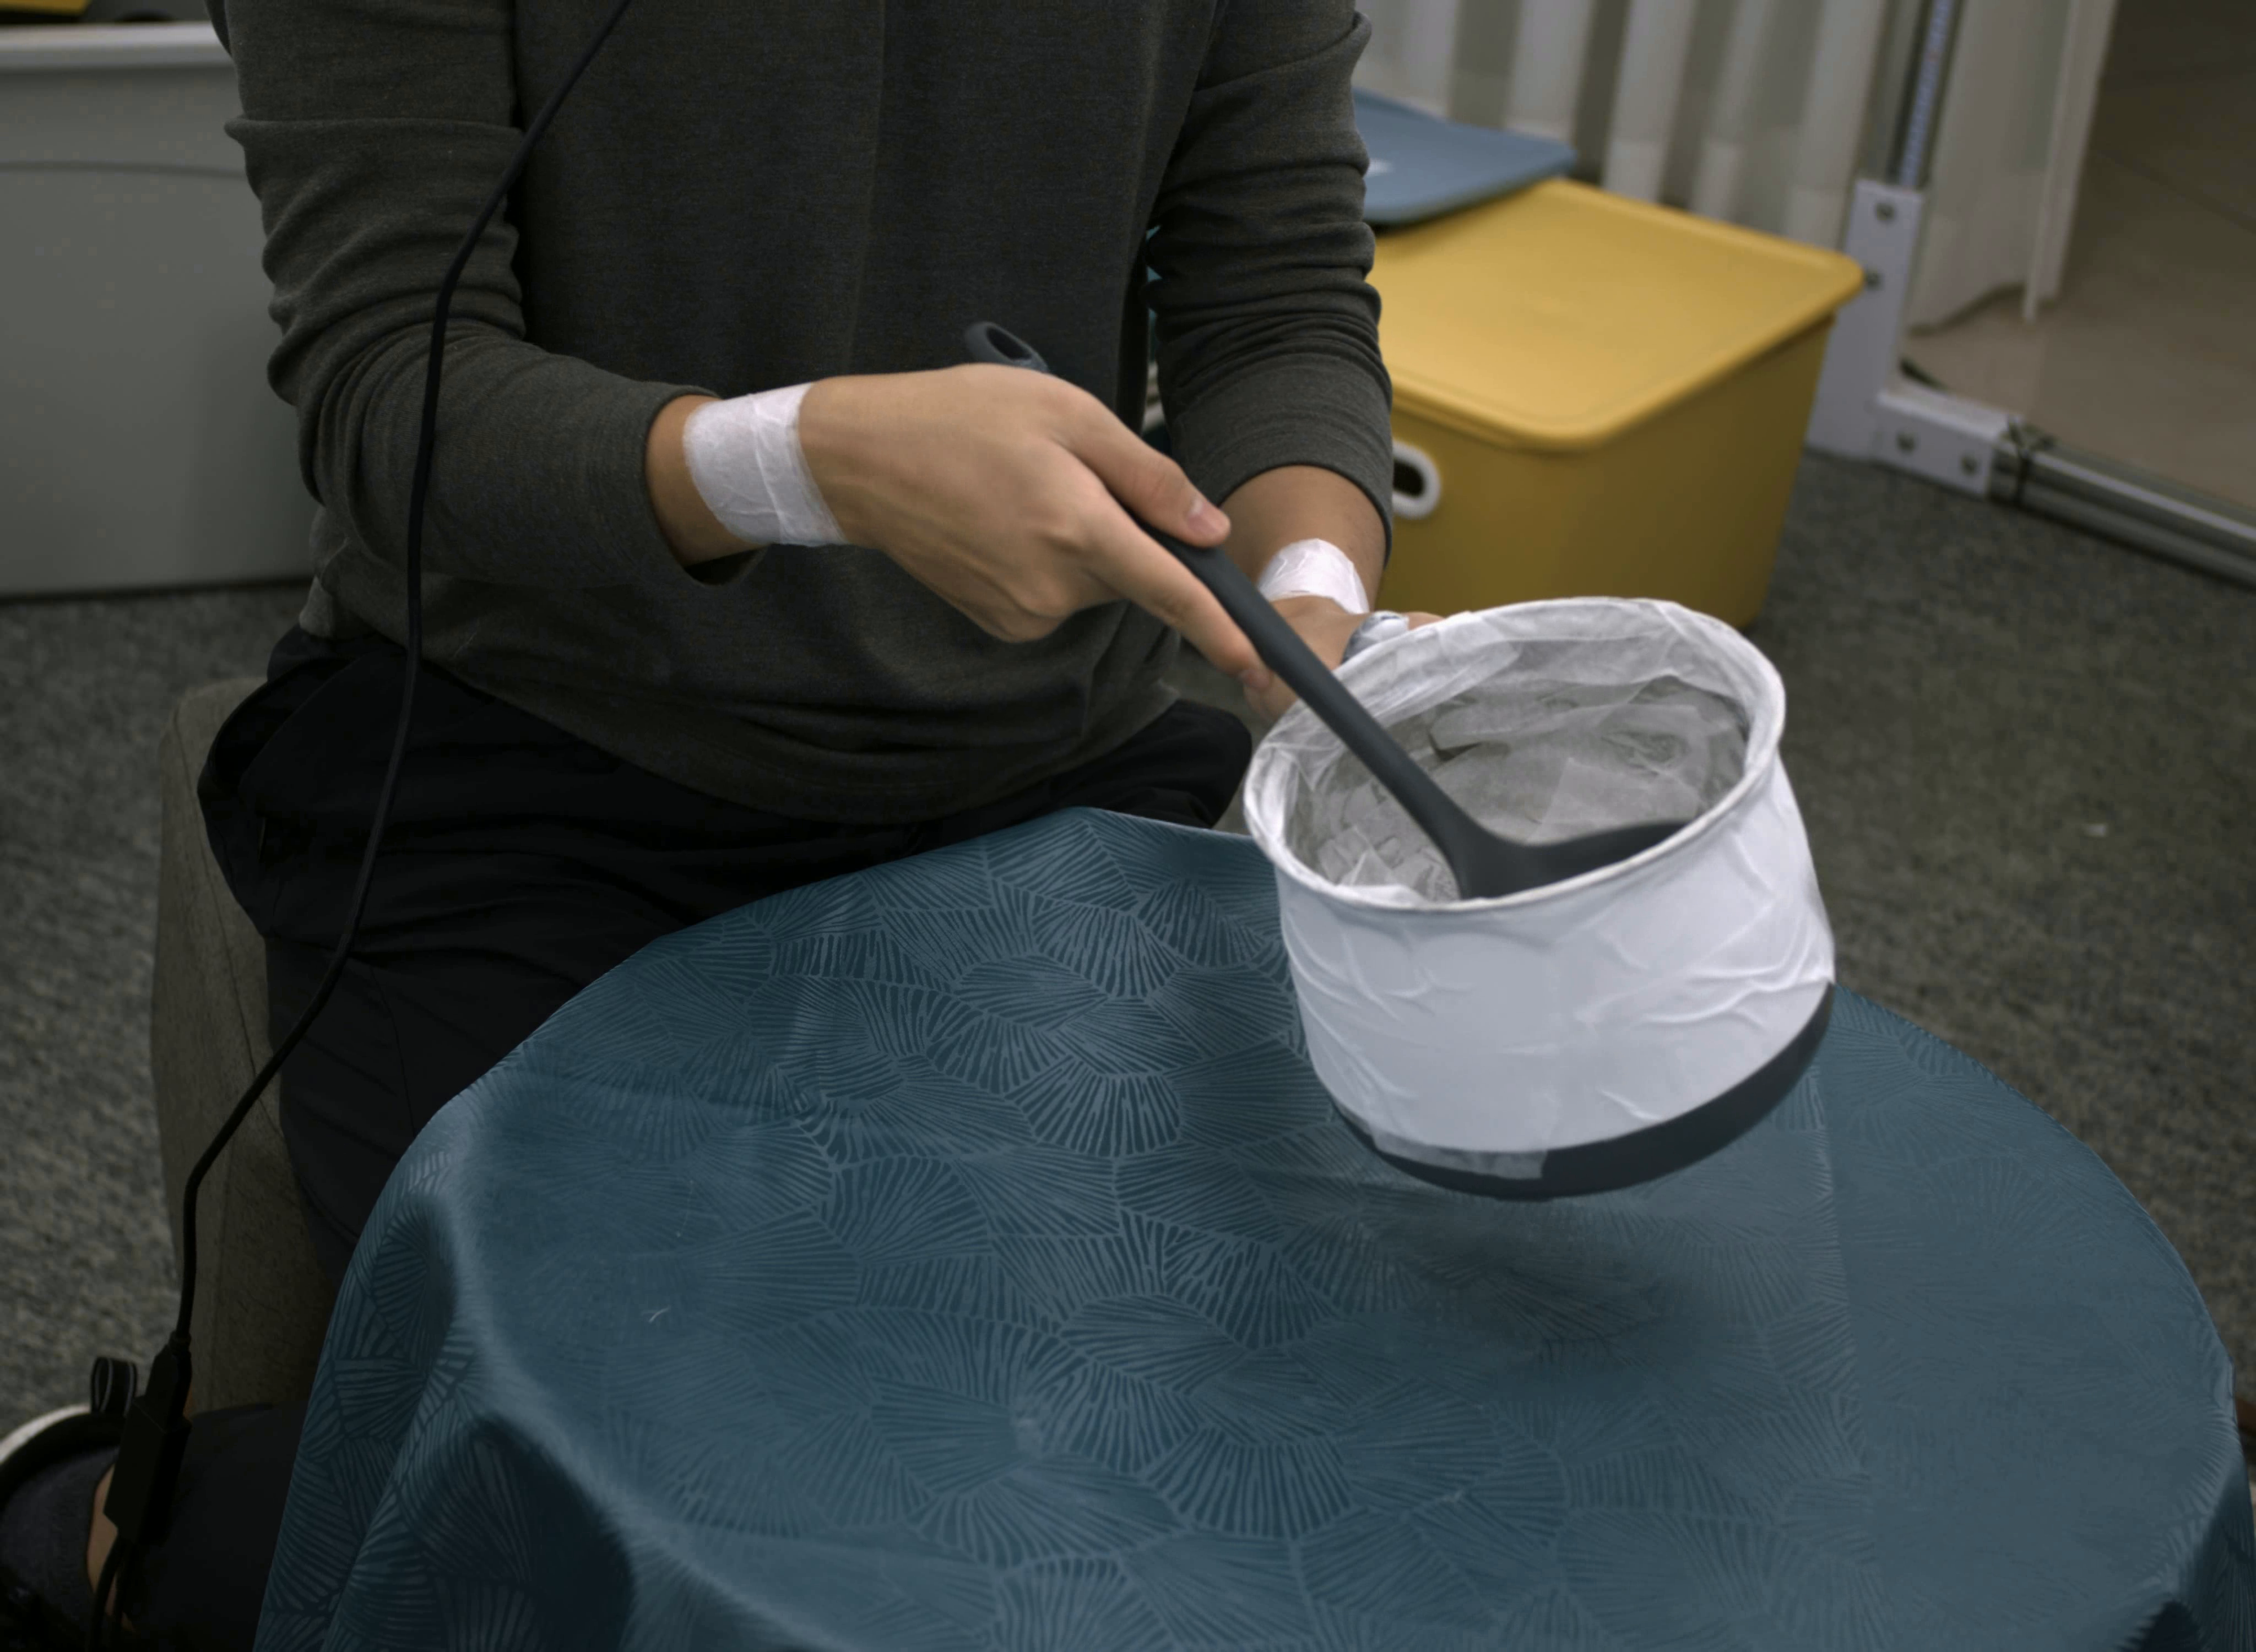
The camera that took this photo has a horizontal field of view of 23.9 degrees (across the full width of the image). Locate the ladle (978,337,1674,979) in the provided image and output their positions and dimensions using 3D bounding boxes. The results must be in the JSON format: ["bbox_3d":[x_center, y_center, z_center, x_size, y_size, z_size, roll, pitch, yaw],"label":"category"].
[{"bbox_3d":[0.063,-0.064,1.726,0.086,0.064,0.315,-26,67,-44],"label":"ladle"}]

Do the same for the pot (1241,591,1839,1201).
[{"bbox_3d":[0.125,0.014,1.754,0.178,0.136,0.236,-25,32,-13],"label":"pot"}]
